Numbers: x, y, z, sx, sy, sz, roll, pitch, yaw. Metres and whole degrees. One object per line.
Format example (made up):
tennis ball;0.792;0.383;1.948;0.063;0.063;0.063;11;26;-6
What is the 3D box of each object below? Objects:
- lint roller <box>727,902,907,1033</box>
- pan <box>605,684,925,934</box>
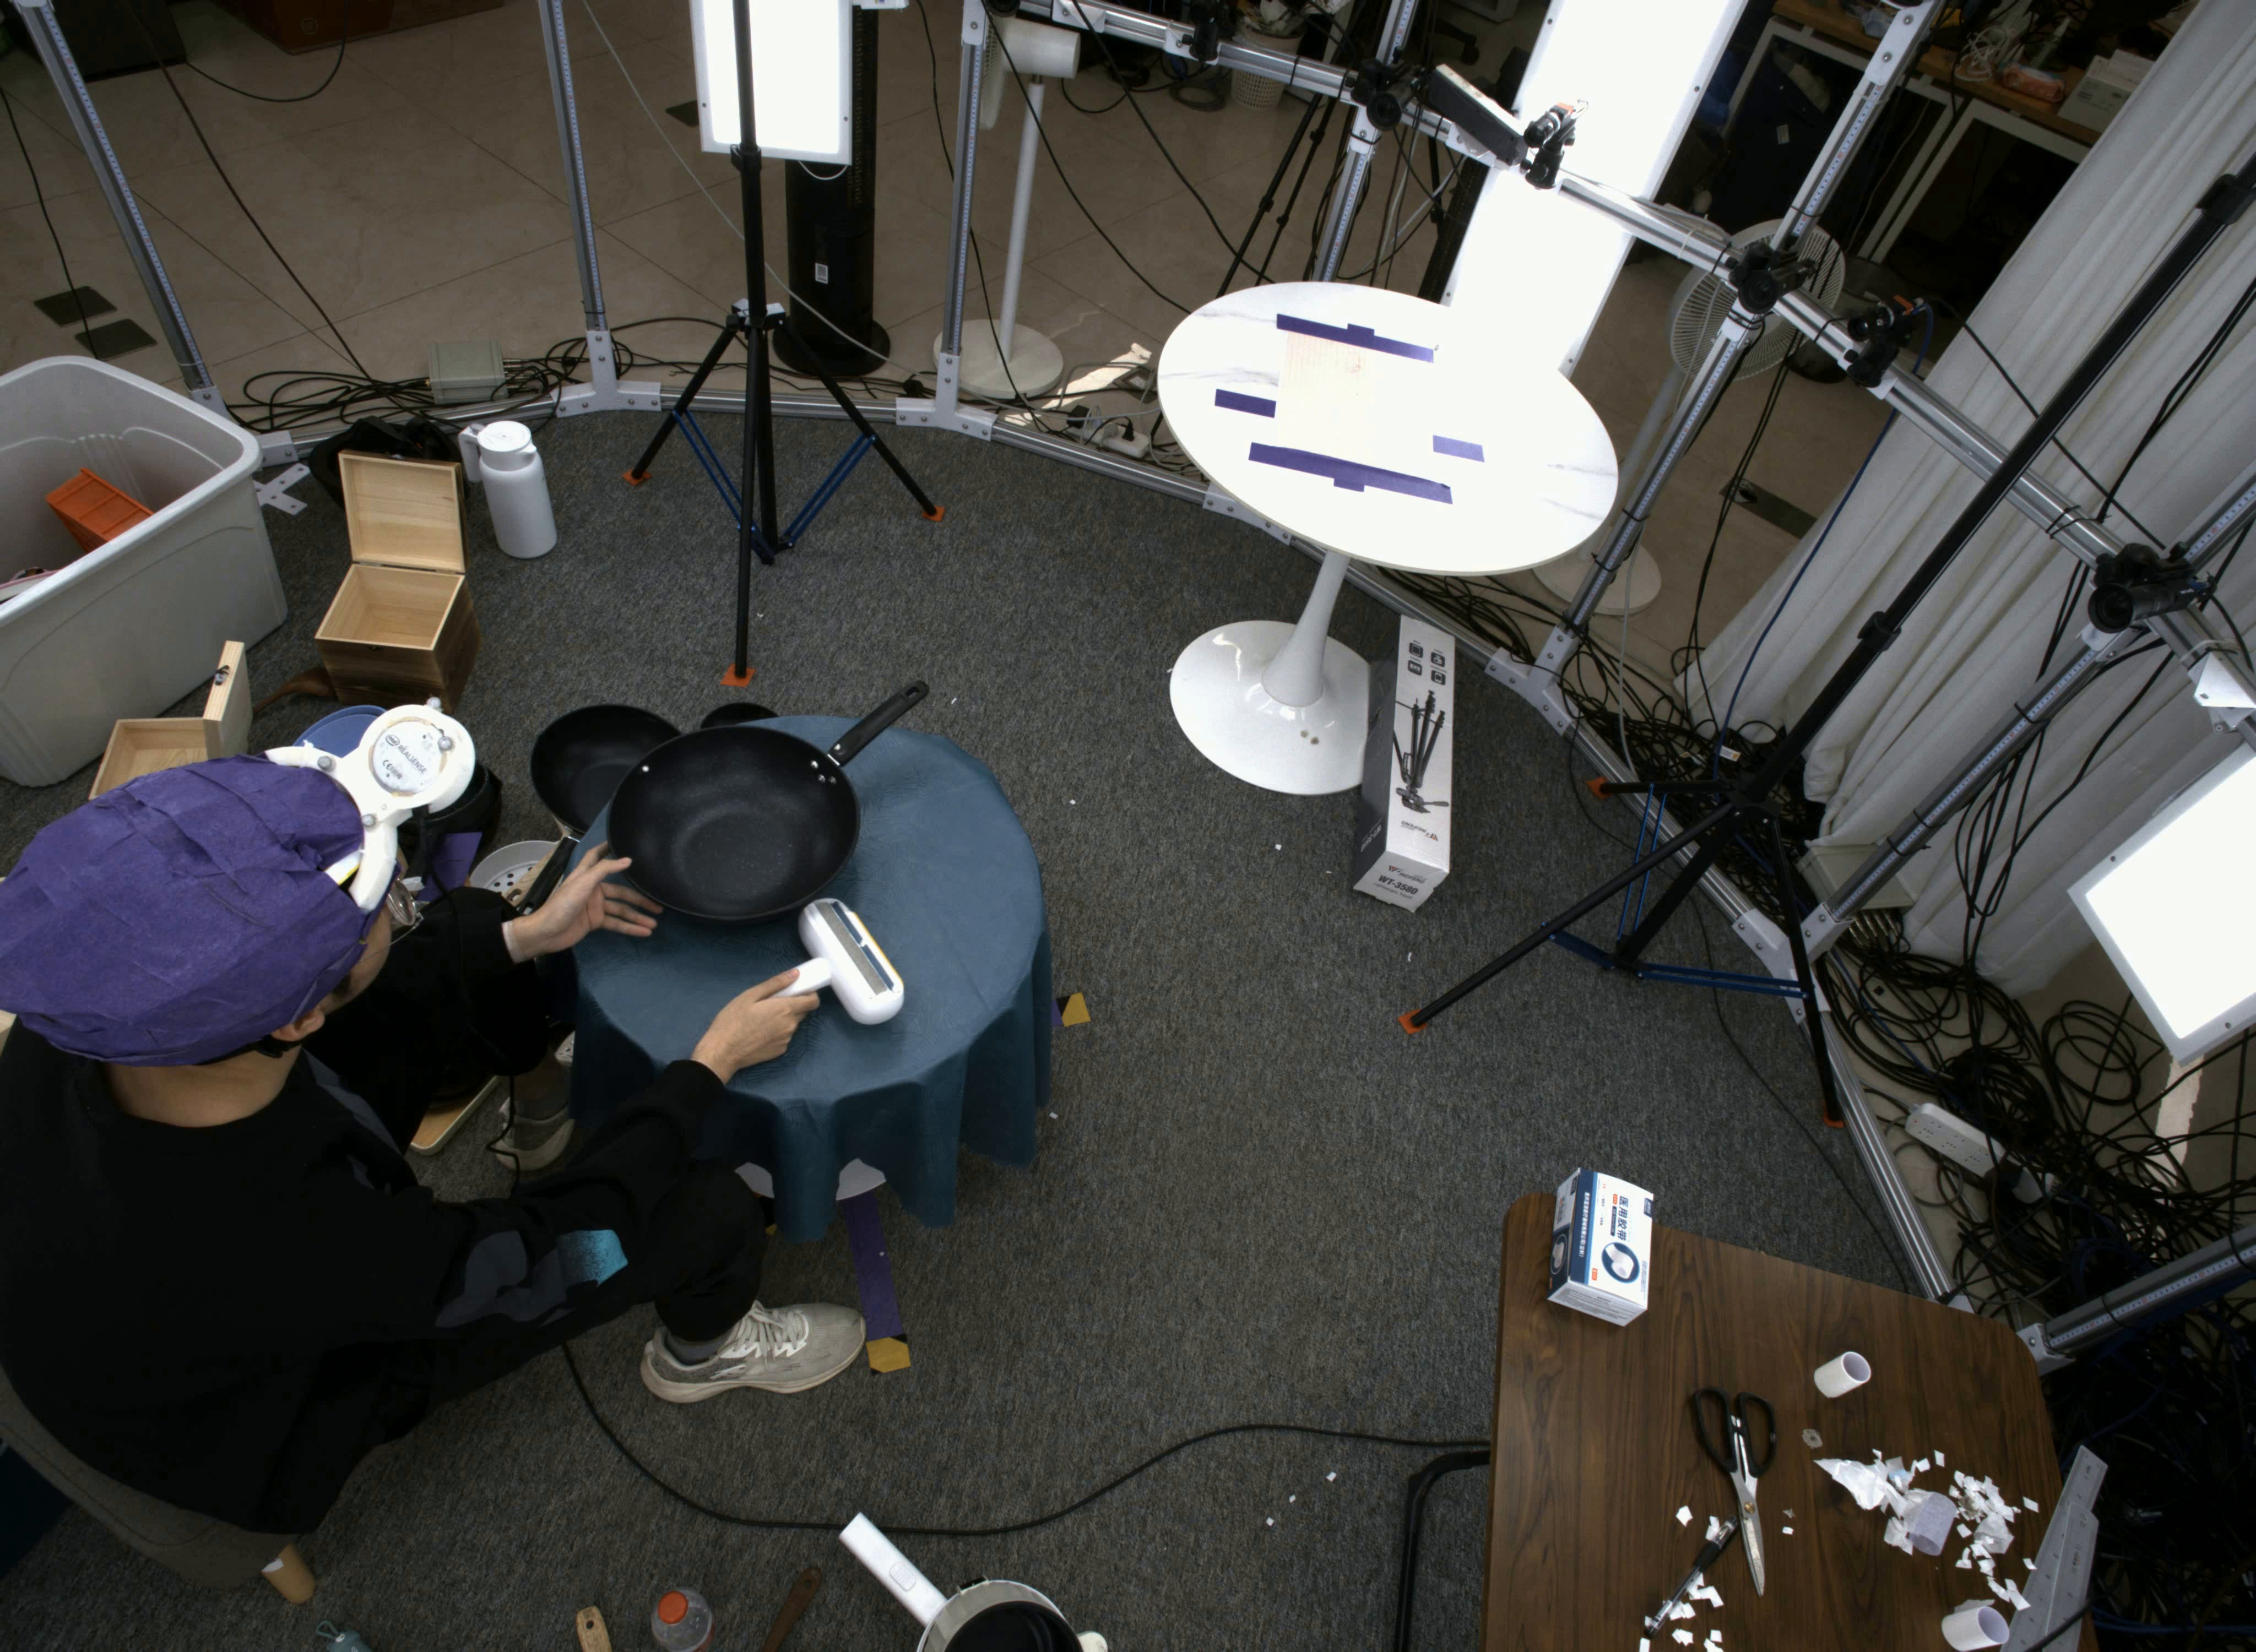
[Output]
lint roller;-0.384;0.184;1.551;0.194;0.075;0.187;-14;53;-32
pan;-0.447;-0.034;1.680;0.304;0.113;0.477;41;55;14
